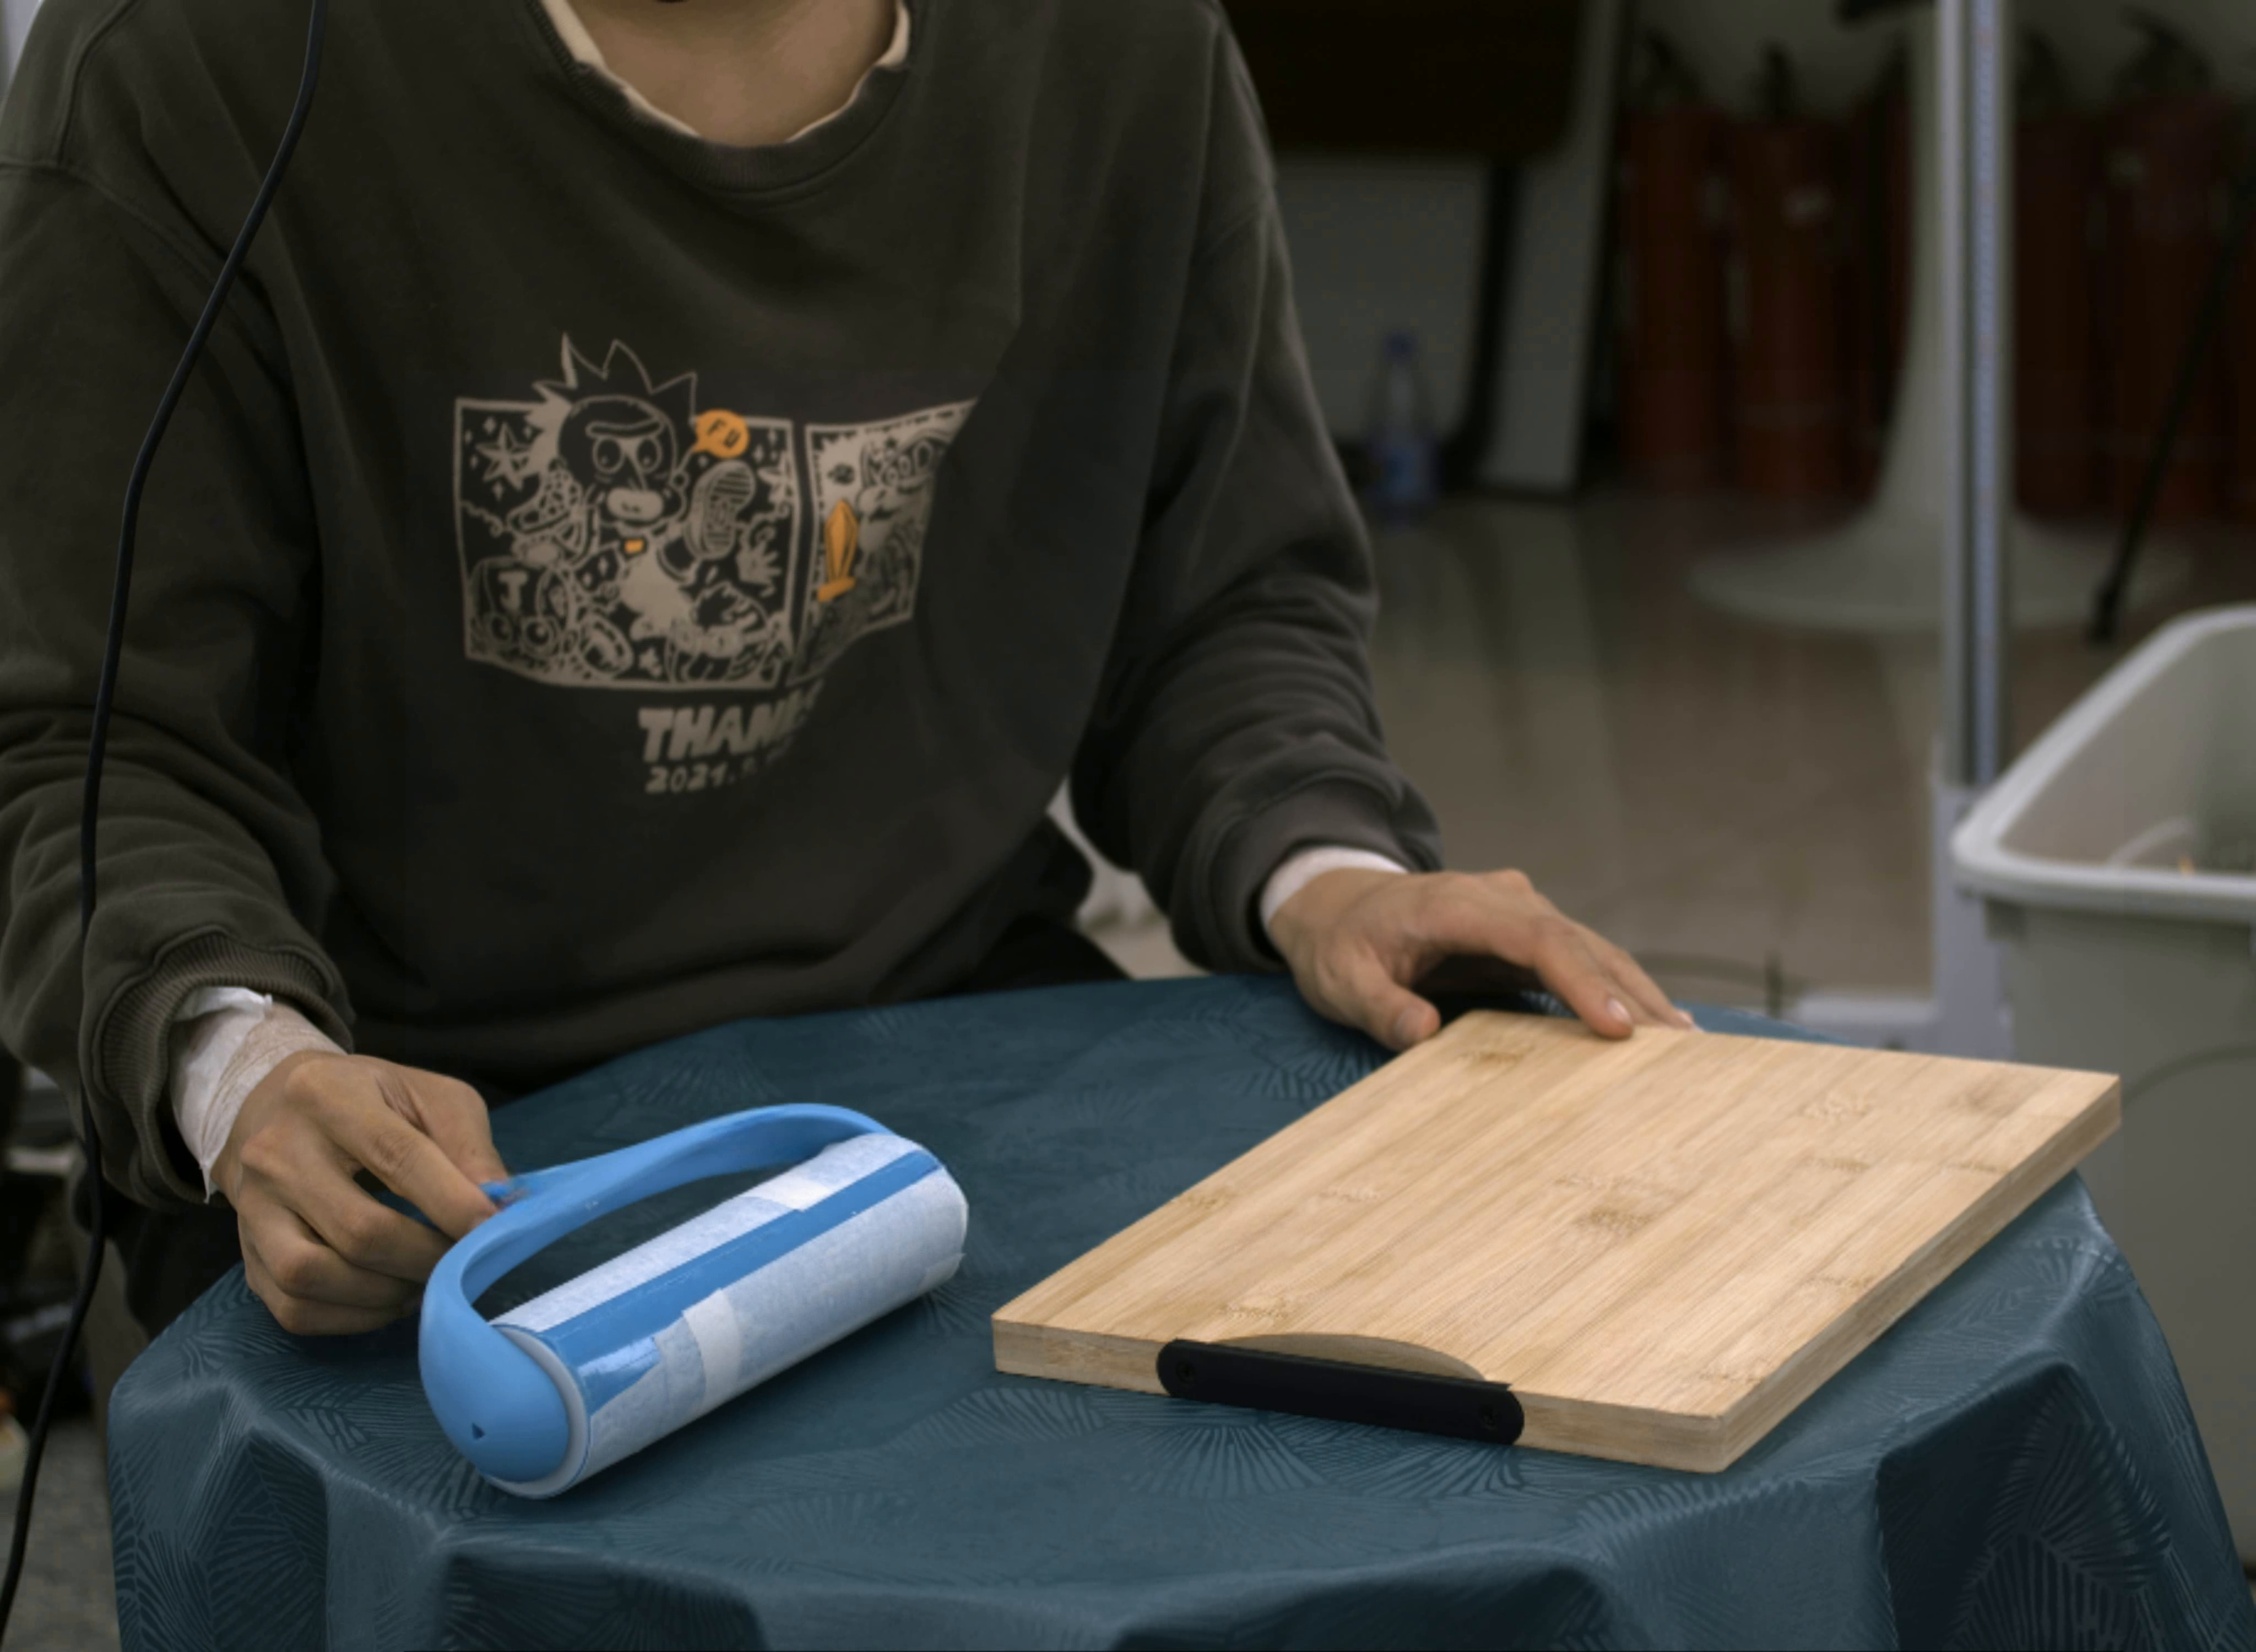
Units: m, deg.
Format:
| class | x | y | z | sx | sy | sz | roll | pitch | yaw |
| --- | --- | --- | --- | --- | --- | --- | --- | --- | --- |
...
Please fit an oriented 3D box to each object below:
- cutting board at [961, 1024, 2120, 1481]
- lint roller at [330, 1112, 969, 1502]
| class | x | y | z | sx | sy | sz | roll | pitch | yaw |
| --- | --- | --- | --- | --- | --- | --- | --- | --- | --- |
| cutting board | 0.139 | 0.126 | 1.682 | 0.251 | 0.024 | 0.343 | 3 | 15 | 29 |
| lint roller | -0.172 | 0.137 | 1.635 | 0.181 | 0.068 | 0.225 | 7 | 18 | 30 |
